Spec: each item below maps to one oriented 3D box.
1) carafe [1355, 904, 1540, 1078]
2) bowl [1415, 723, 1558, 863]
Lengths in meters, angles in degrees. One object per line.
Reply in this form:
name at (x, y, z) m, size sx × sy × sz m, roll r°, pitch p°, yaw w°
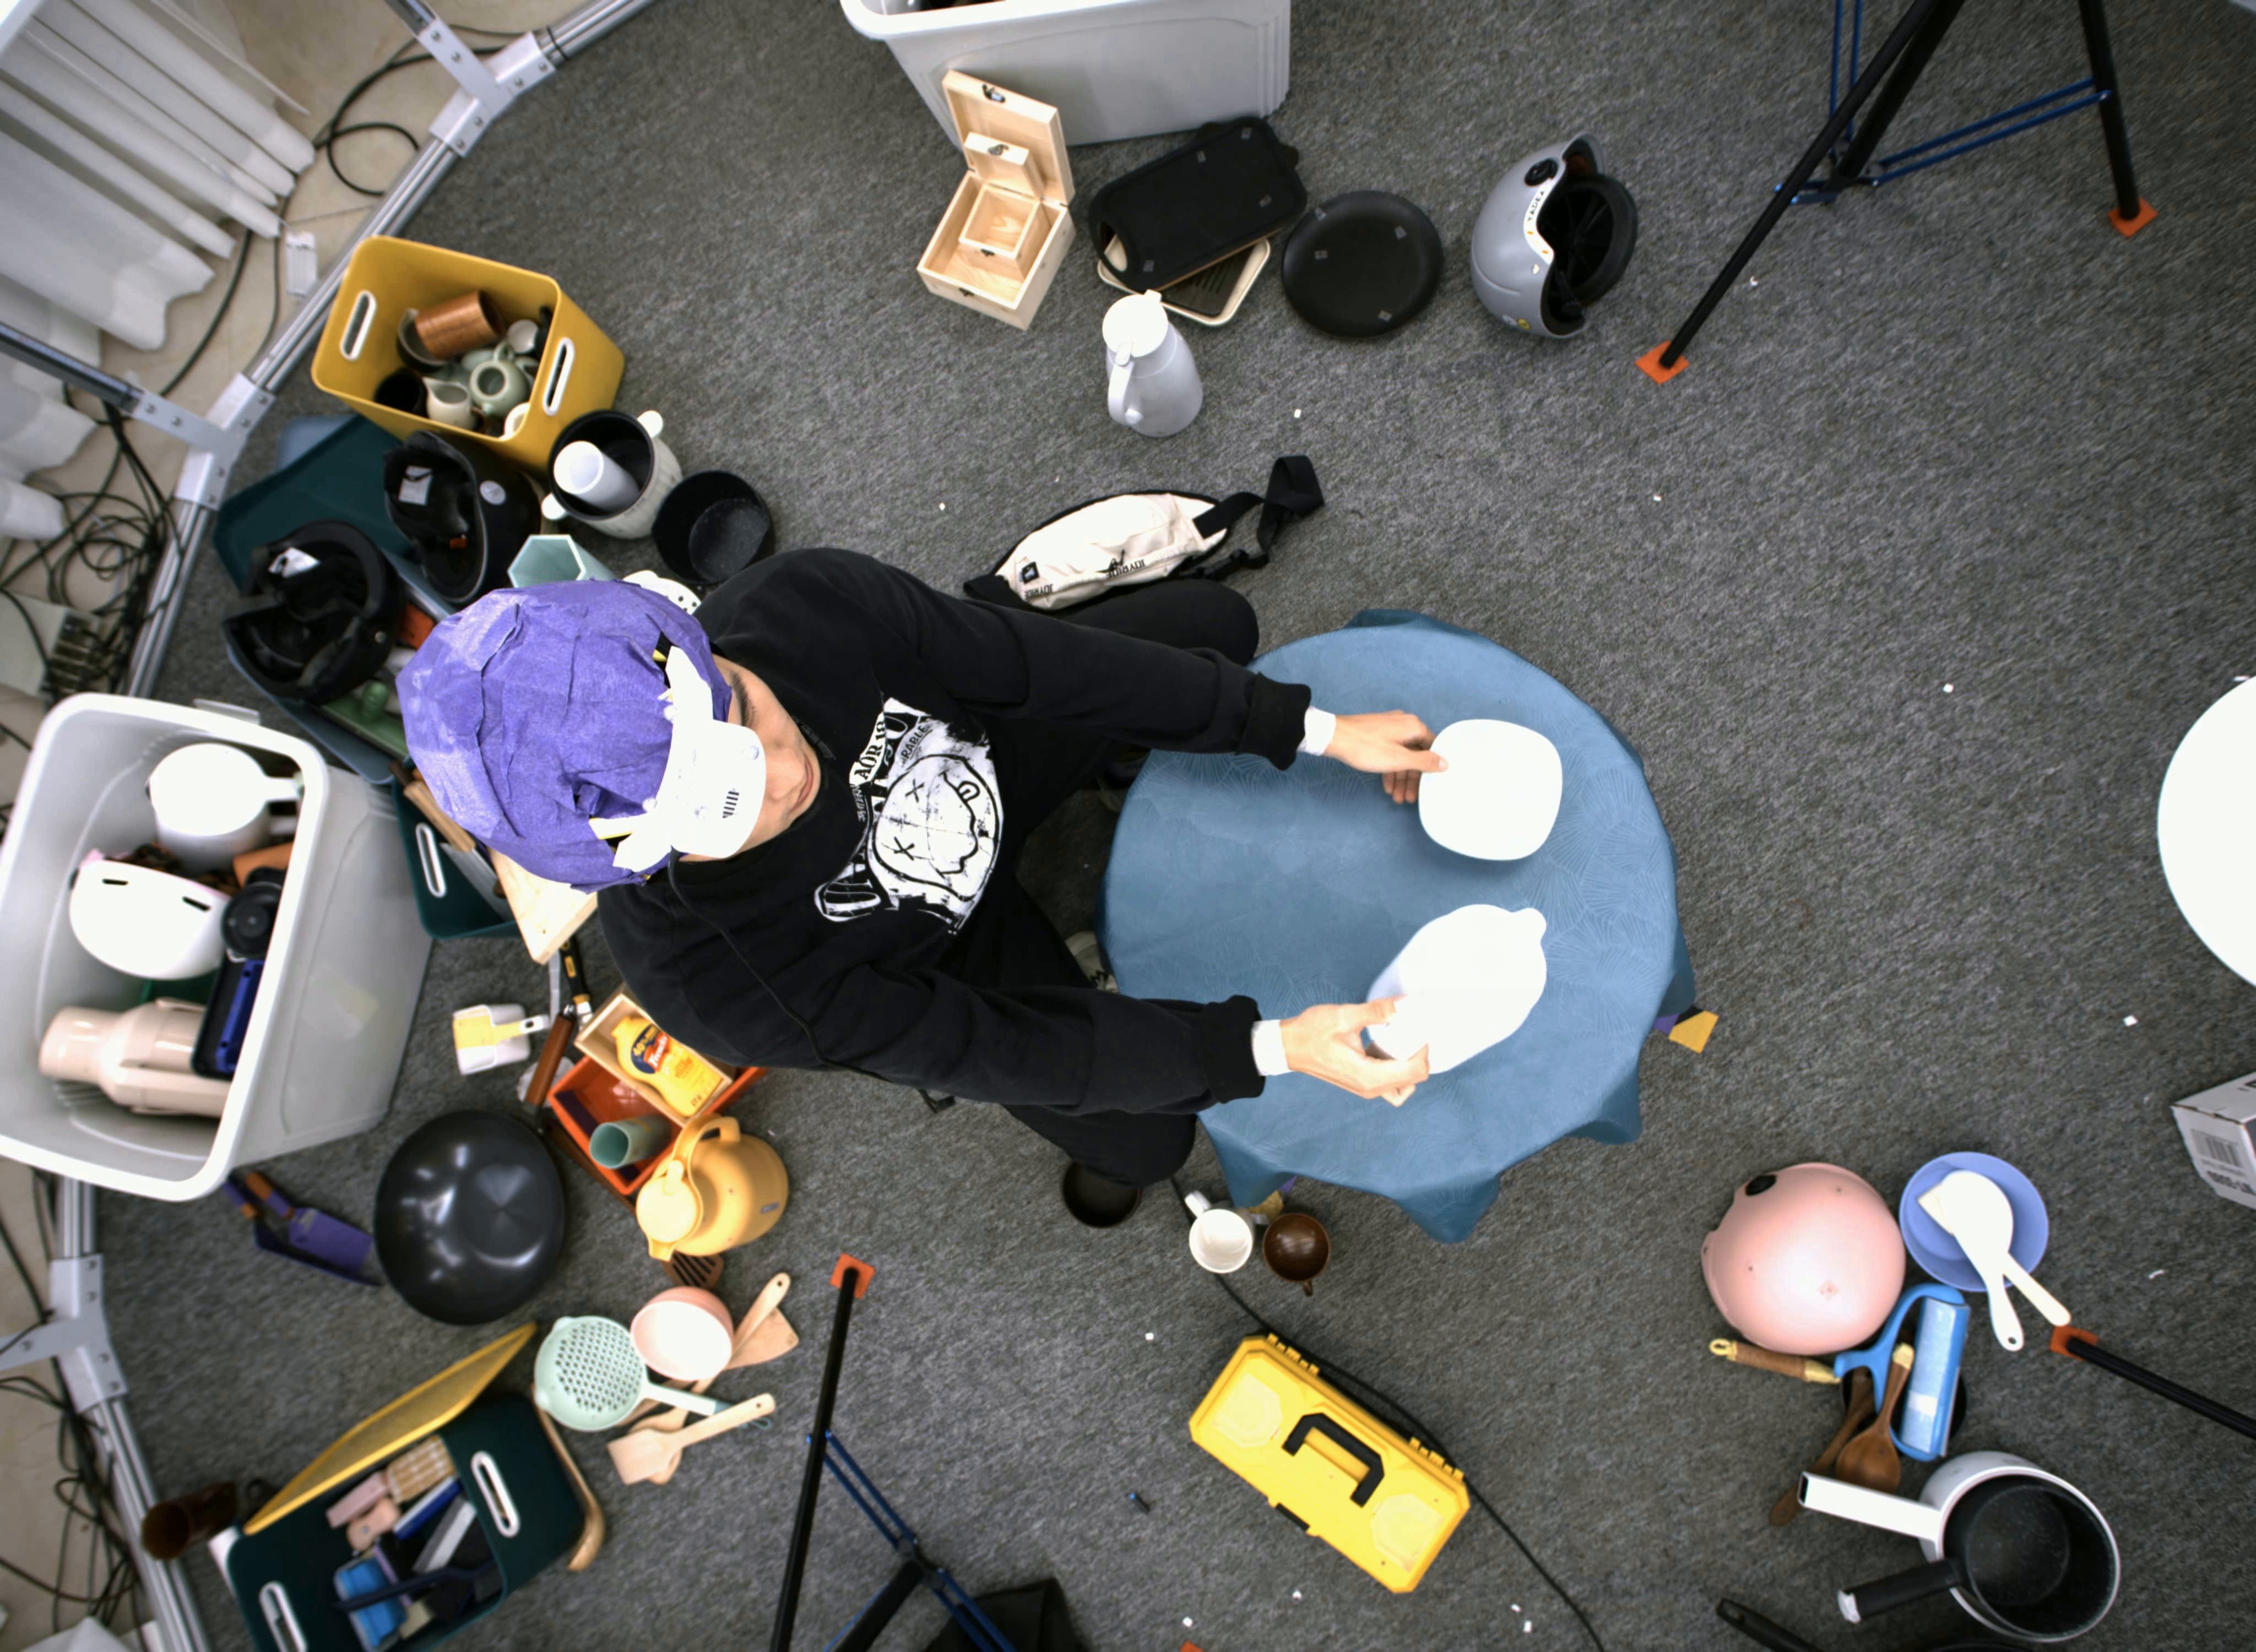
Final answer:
carafe at (0.280, 0.163, 1.265) m, size 0.171 × 0.272 × 0.123 m, roll -40°, pitch 79°, yaw -12°
bowl at (0.363, -0.034, 1.401) m, size 0.152 × 0.058 × 0.151 m, roll 0°, pitch 90°, yaw 9°
